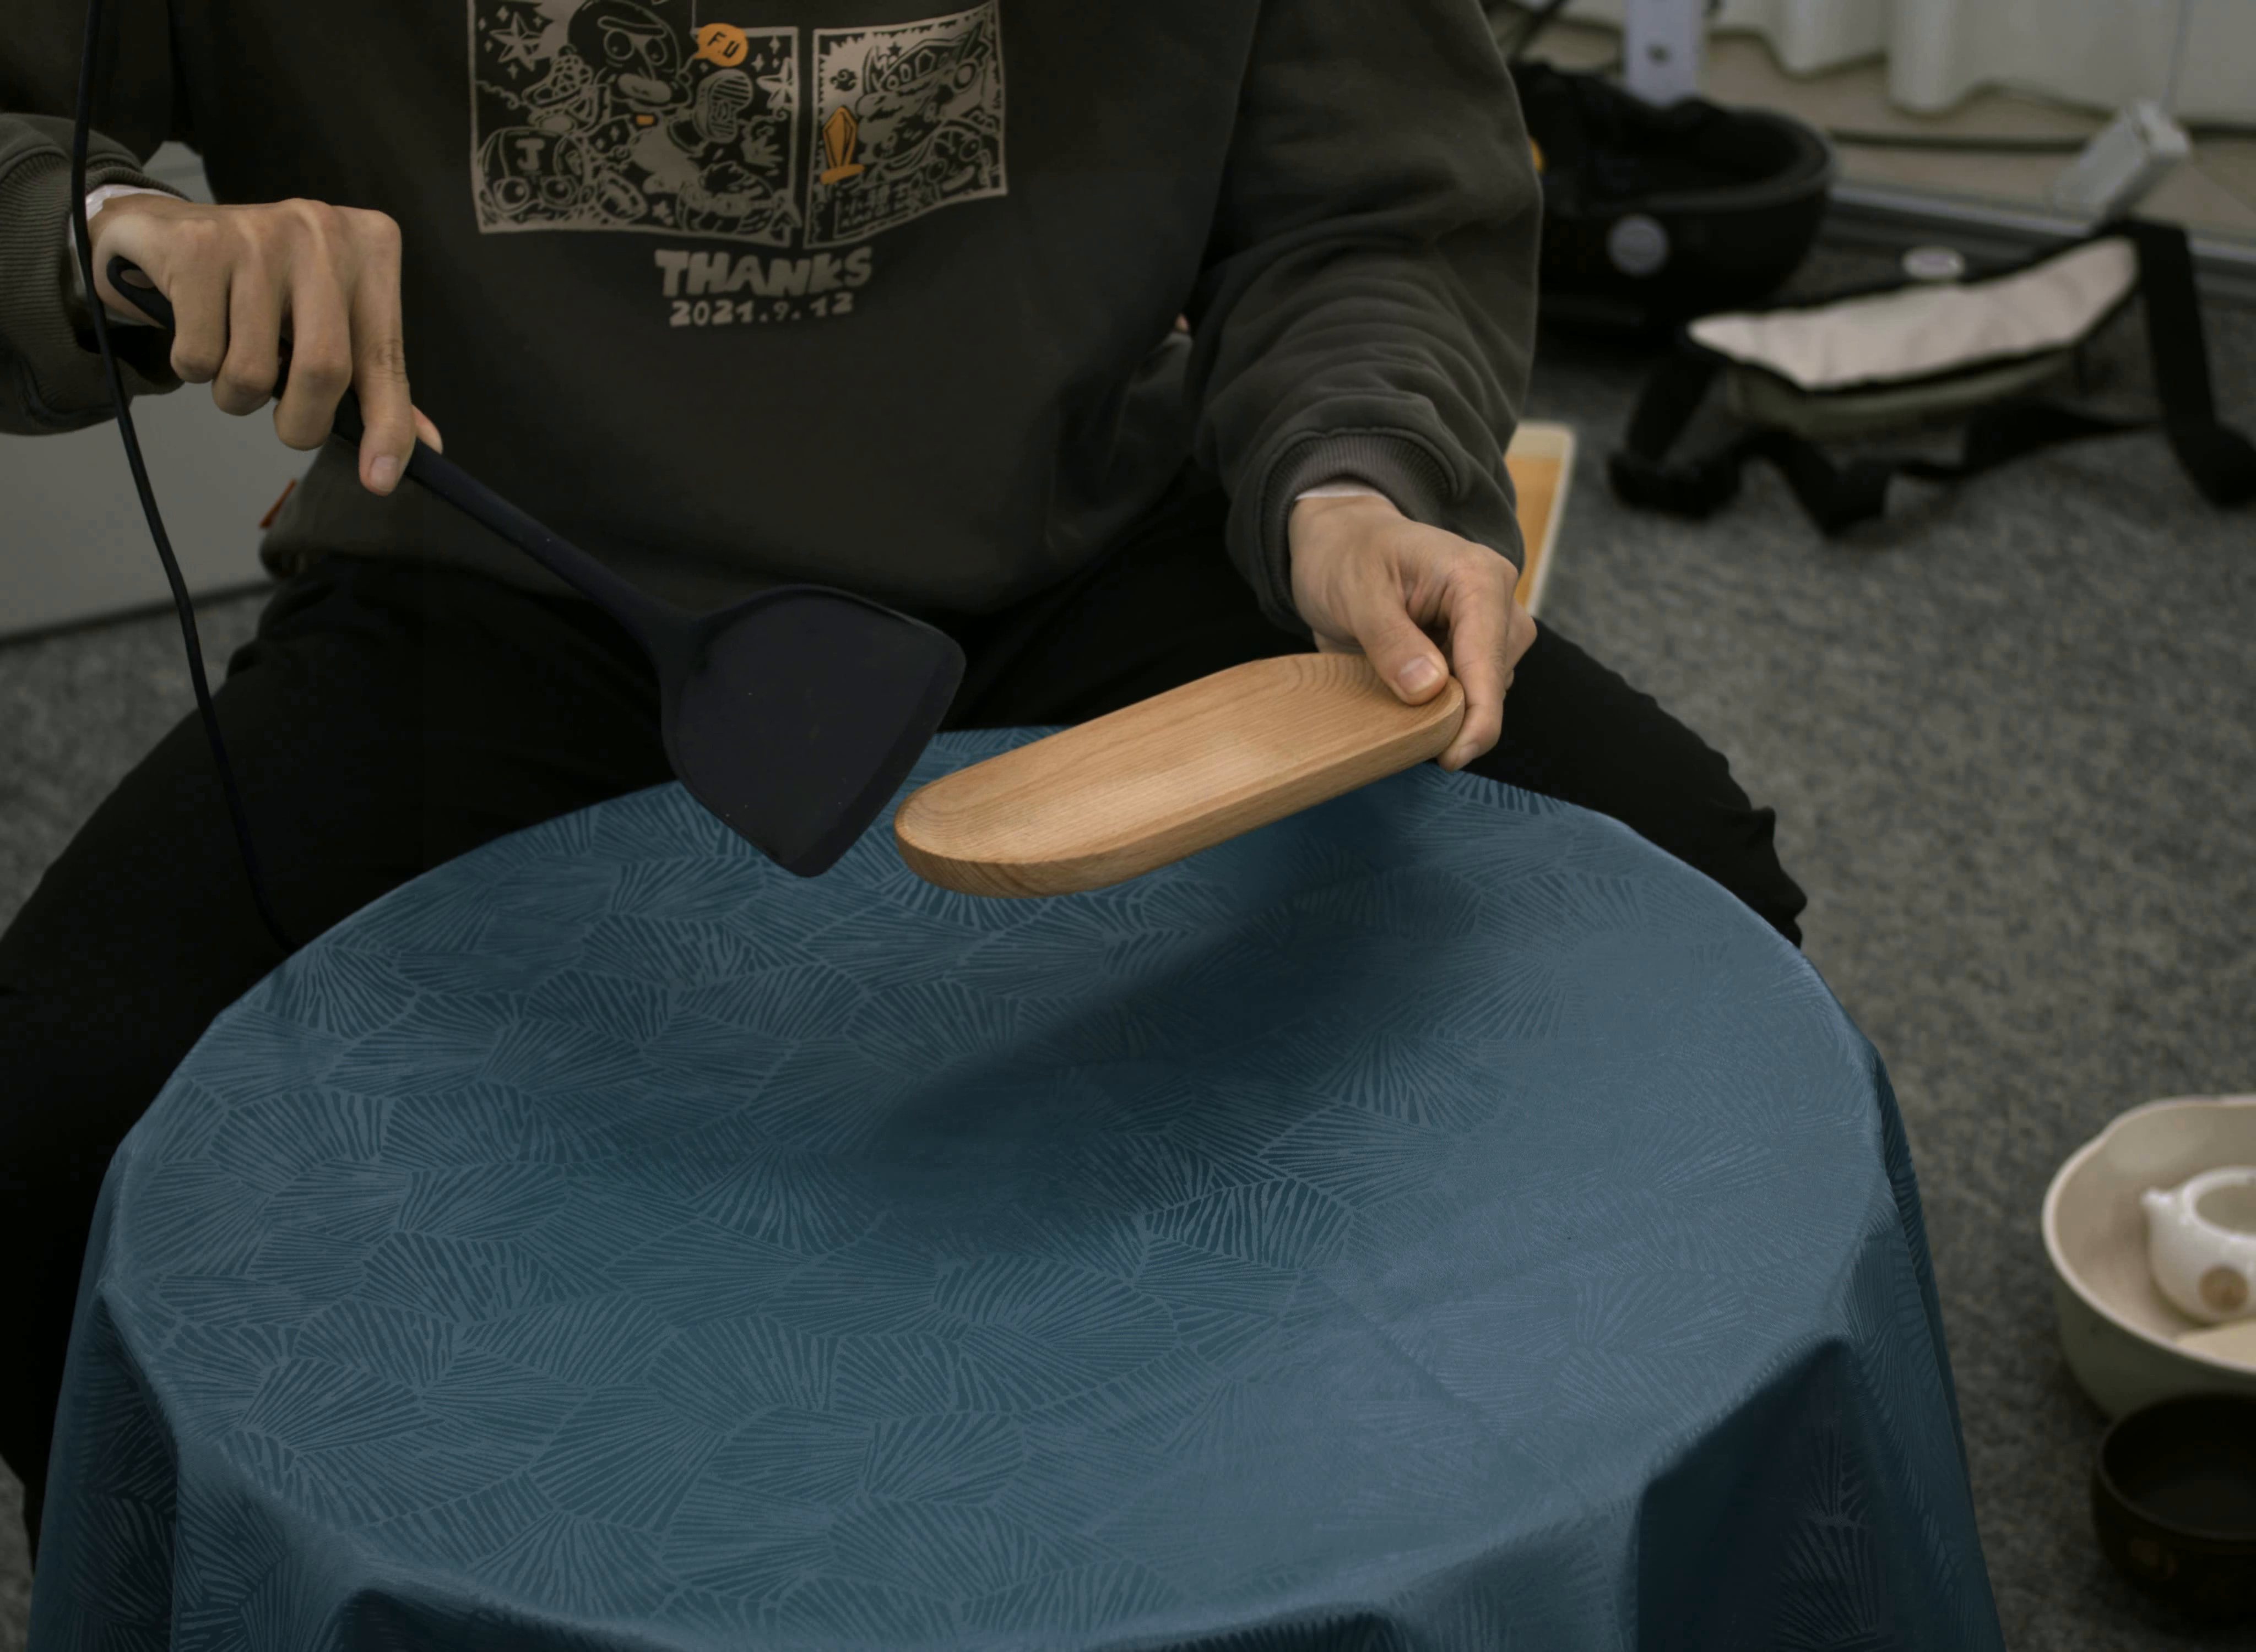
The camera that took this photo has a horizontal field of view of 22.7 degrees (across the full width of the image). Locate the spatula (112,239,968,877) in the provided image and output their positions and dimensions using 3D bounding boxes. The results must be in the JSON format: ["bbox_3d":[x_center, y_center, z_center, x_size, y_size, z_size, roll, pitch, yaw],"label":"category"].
[{"bbox_3d":[-0.209,-0.106,1.901,0.325,0.040,0.101,35,76,1],"label":"spatula"}]

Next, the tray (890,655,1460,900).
[{"bbox_3d":[0.018,-0.018,1.922,0.234,0.020,0.101,-23,27,-39],"label":"tray"}]
